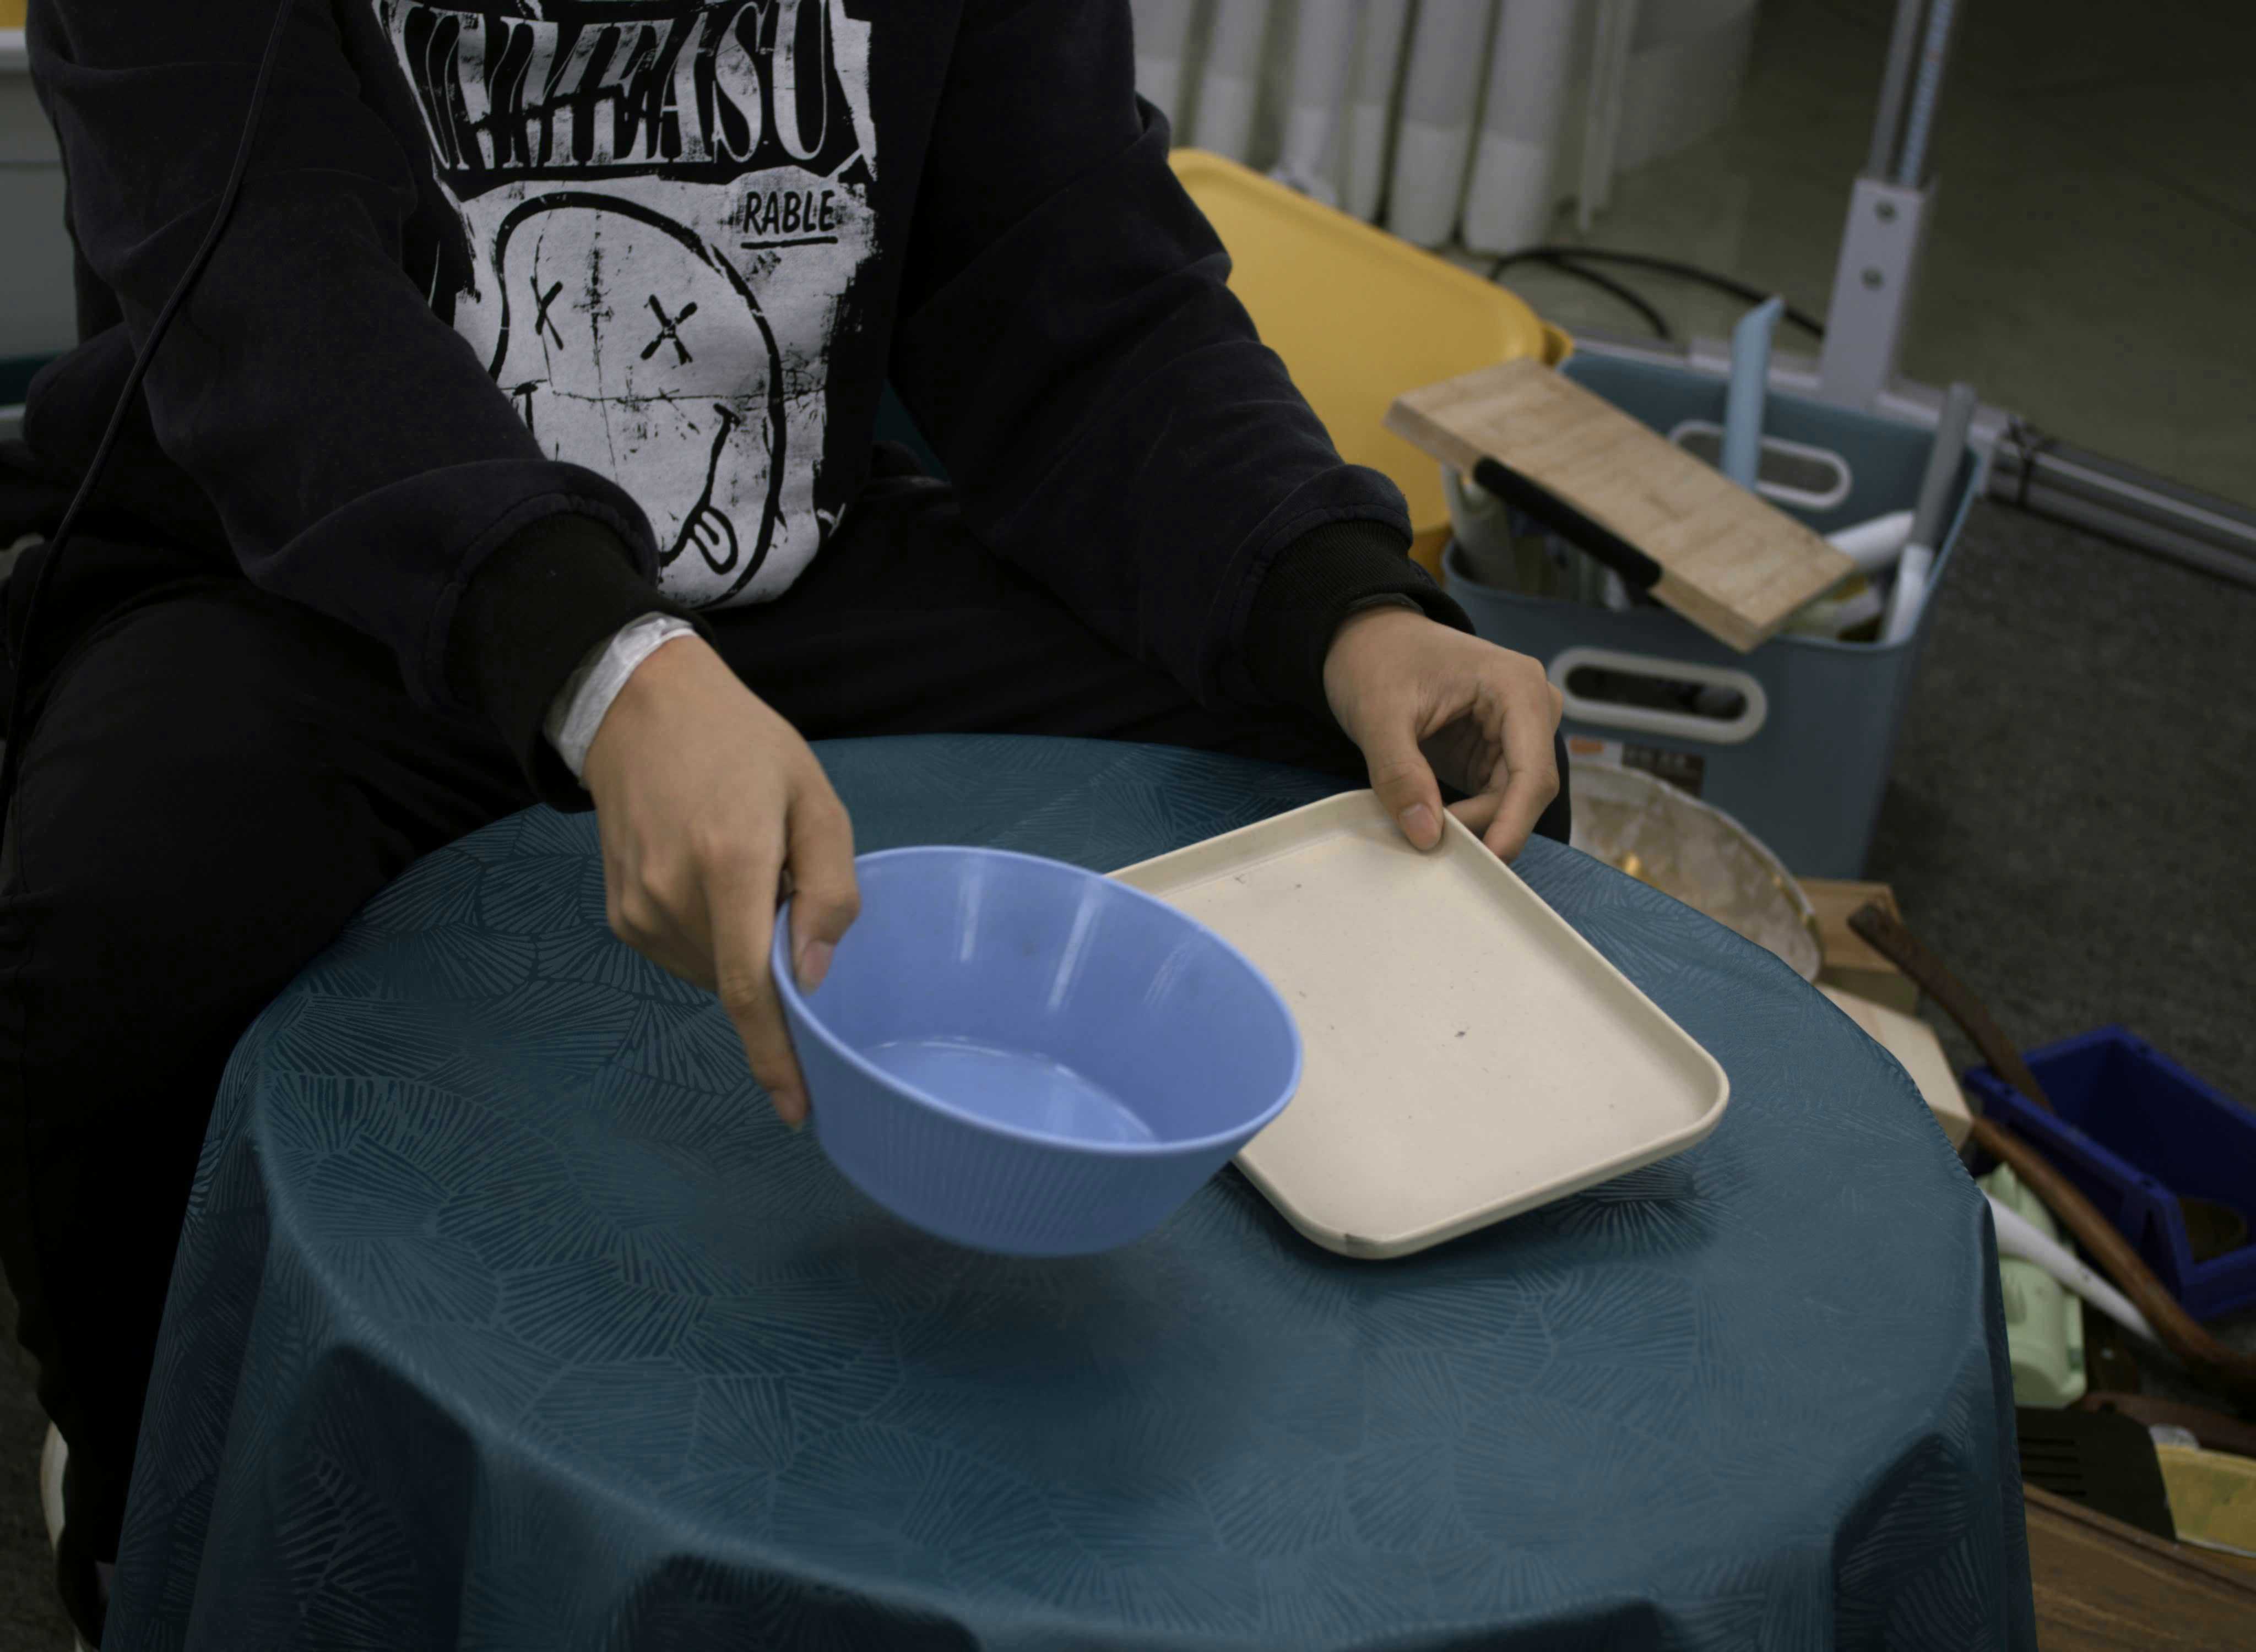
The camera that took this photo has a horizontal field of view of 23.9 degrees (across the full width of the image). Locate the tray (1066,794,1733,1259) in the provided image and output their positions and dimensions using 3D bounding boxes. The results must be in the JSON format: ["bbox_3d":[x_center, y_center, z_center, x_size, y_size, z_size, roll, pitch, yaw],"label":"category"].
[{"bbox_3d":[0.088,0.069,1.874,0.170,0.017,0.242,-18,37,-22],"label":"tray"}]

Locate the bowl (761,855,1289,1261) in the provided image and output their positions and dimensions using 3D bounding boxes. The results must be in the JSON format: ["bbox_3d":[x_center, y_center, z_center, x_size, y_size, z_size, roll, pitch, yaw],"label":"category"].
[{"bbox_3d":[-0.040,0.082,1.716,0.175,0.070,0.177,14,27,-7],"label":"bowl"}]
